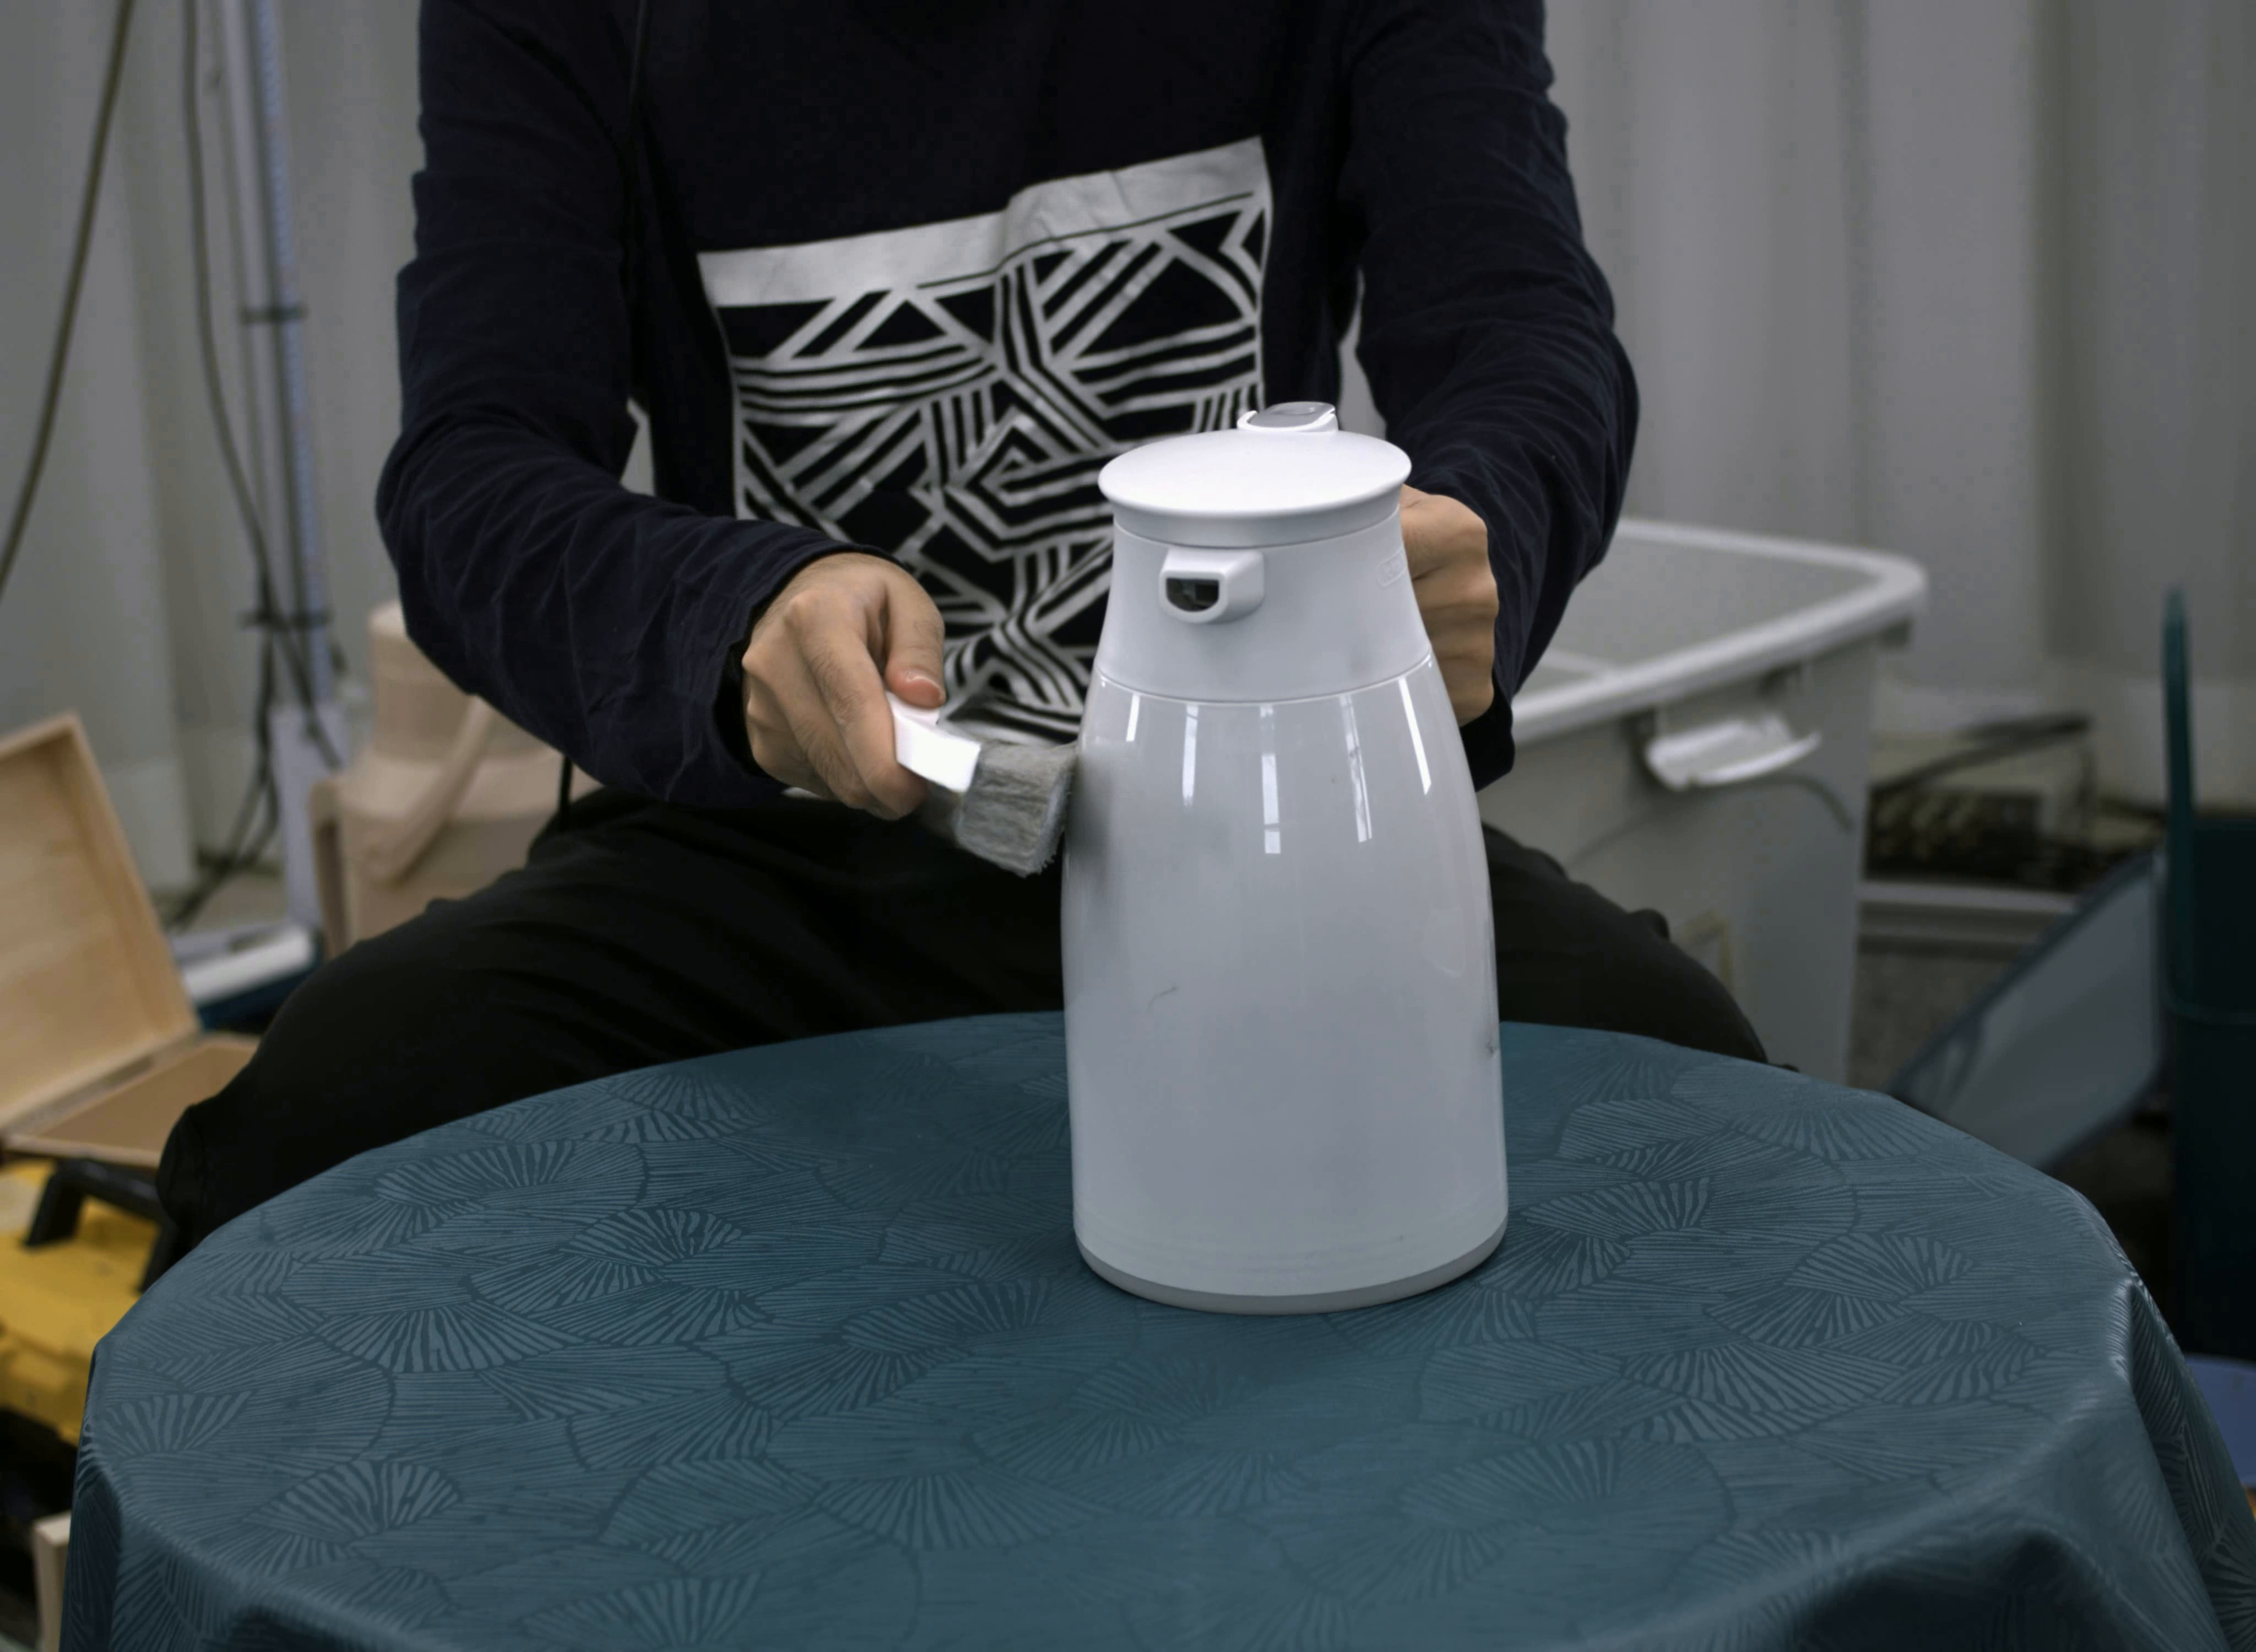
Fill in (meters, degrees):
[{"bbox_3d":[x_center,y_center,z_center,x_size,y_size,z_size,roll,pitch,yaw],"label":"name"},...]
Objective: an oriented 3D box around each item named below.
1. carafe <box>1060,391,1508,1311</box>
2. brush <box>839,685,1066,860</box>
[{"bbox_3d":[0.047,-0.002,1.643,0.132,0.247,0.168,2,19,17],"label":"carafe"},{"bbox_3d":[-0.054,-0.019,1.680,0.050,0.034,0.244,8,5,-10],"label":"brush"}]
